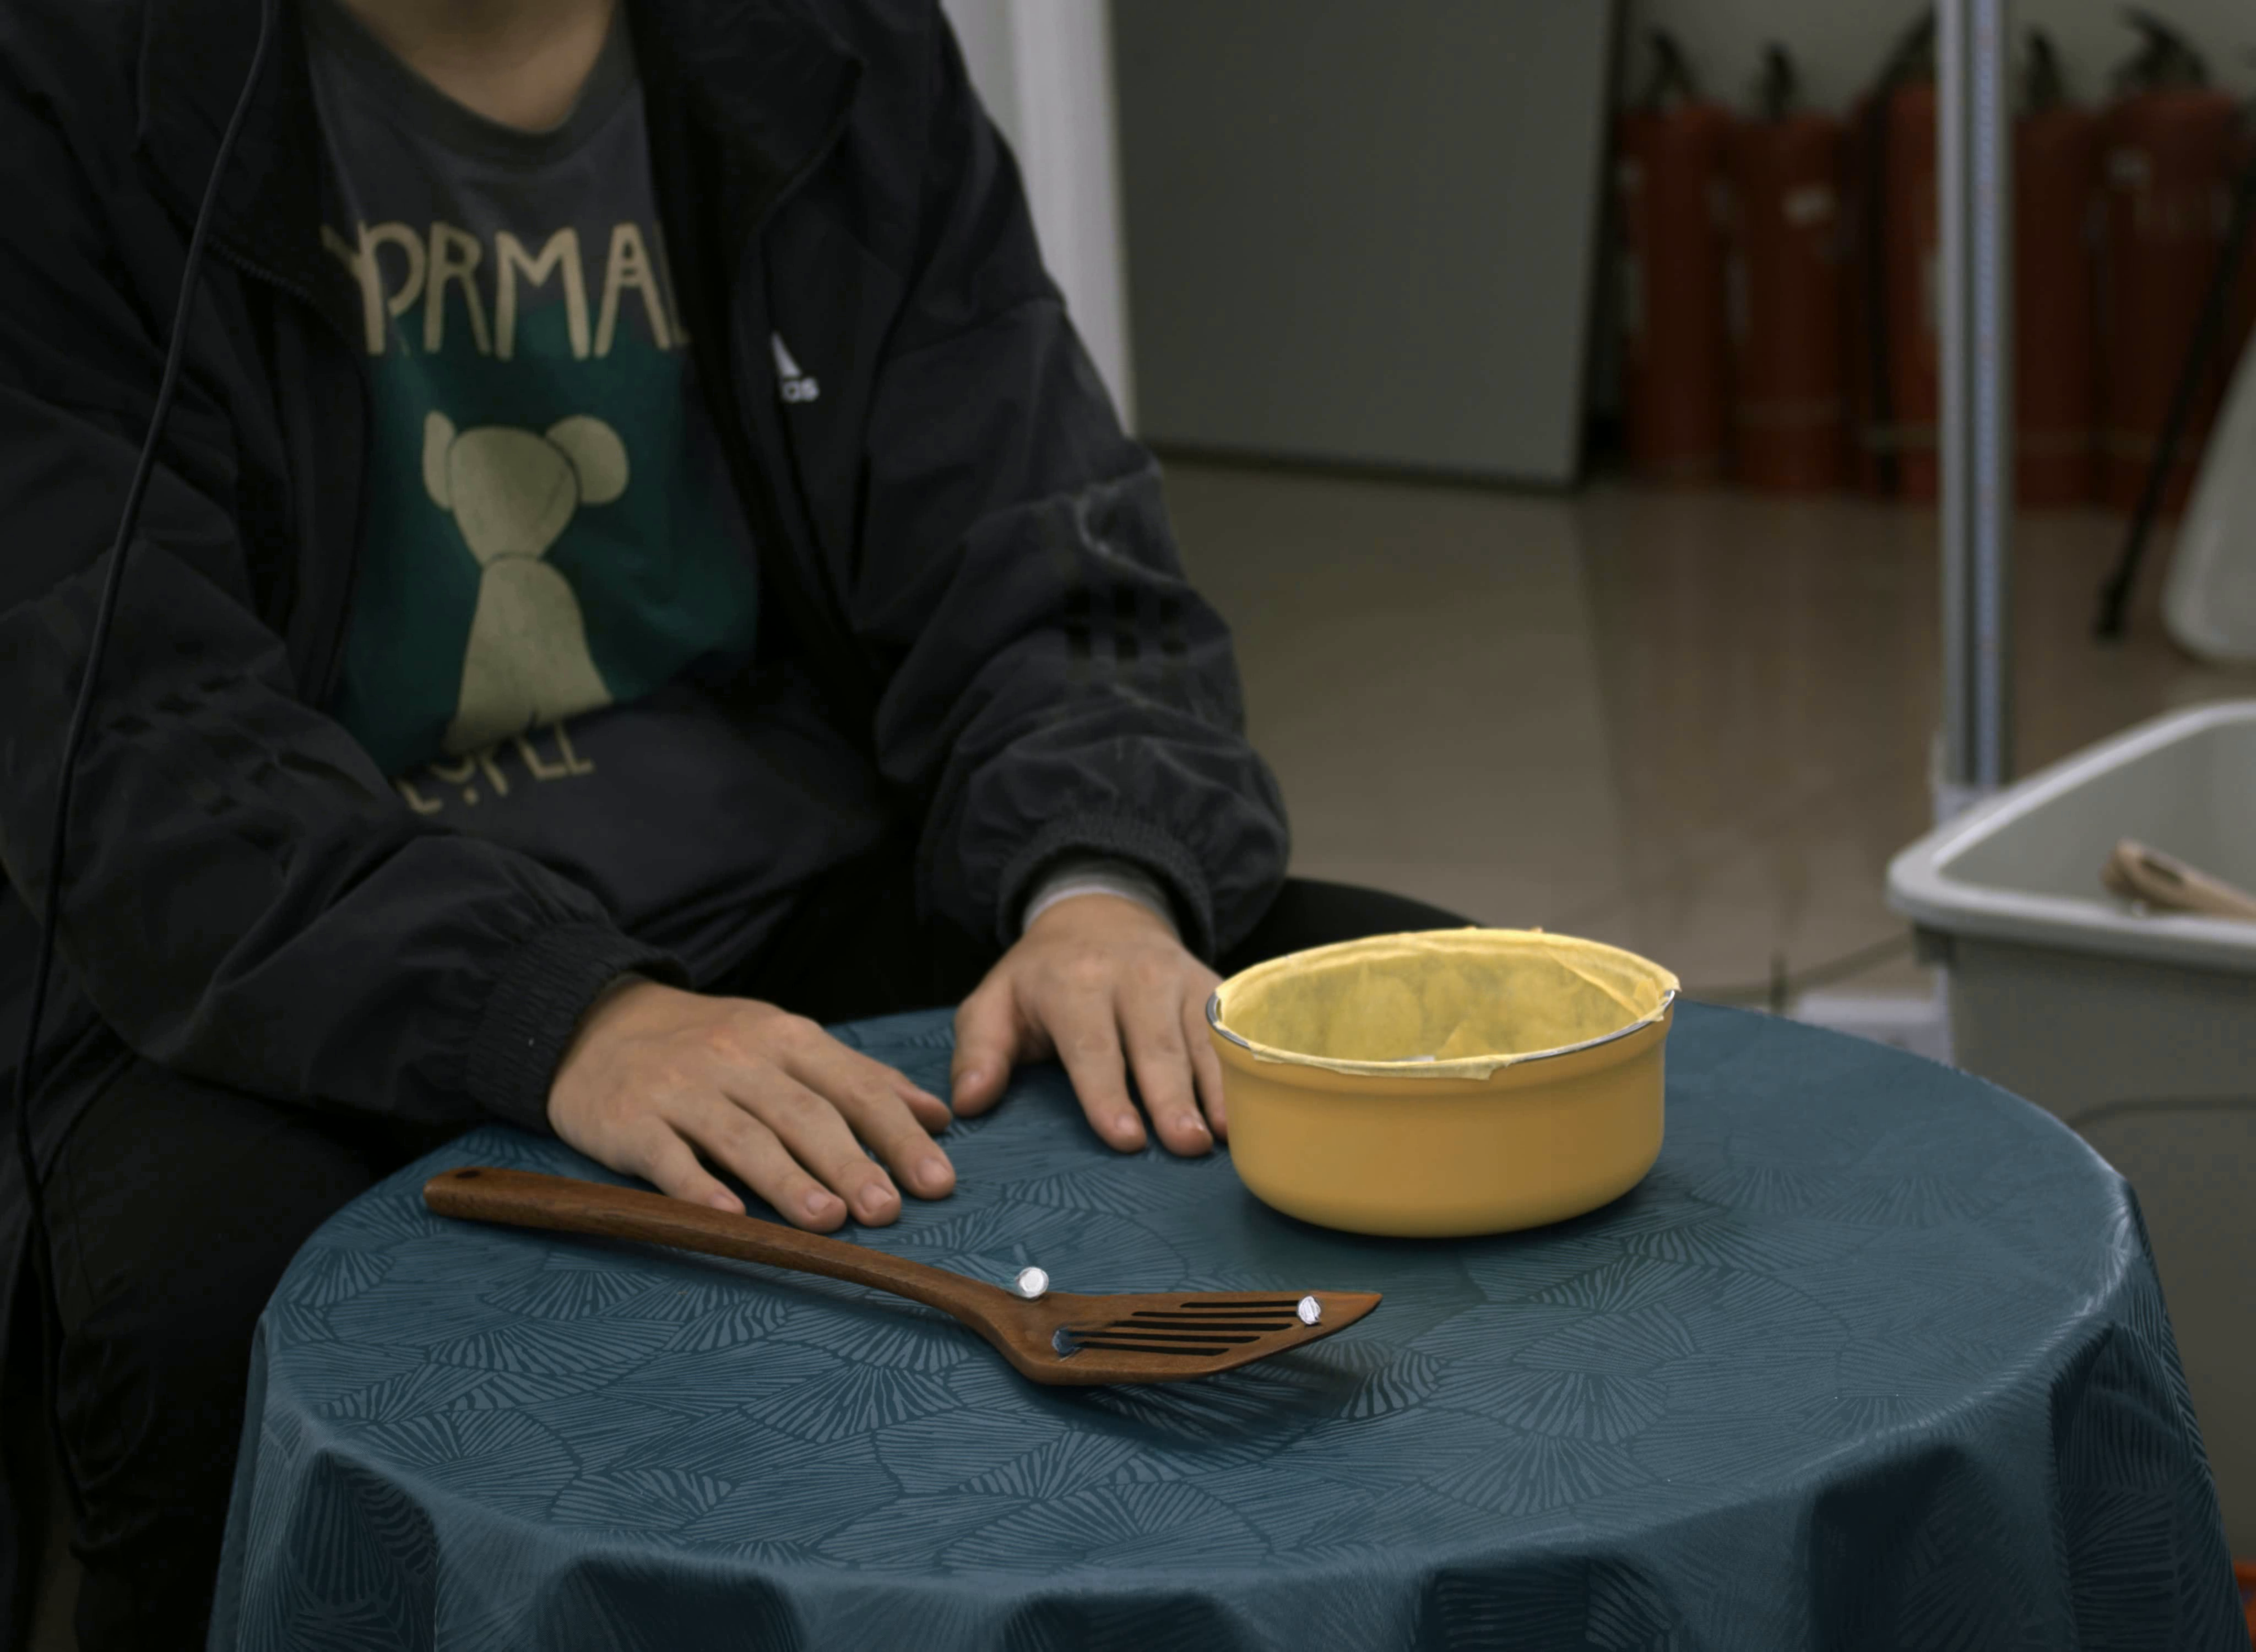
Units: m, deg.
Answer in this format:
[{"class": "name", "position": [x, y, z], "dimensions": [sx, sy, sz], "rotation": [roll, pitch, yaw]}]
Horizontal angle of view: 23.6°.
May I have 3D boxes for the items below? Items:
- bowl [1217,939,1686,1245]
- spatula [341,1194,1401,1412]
[{"class": "bowl", "position": [0.108, 0.085, 1.757], "dimensions": [0.152, 0.075, 0.178], "rotation": [0, 14, 12]}, {"class": "spatula", "position": [-0.093, 0.149, 1.674], "dimensions": [0.388, 0.024, 0.084], "rotation": [7, 9, 32]}]
